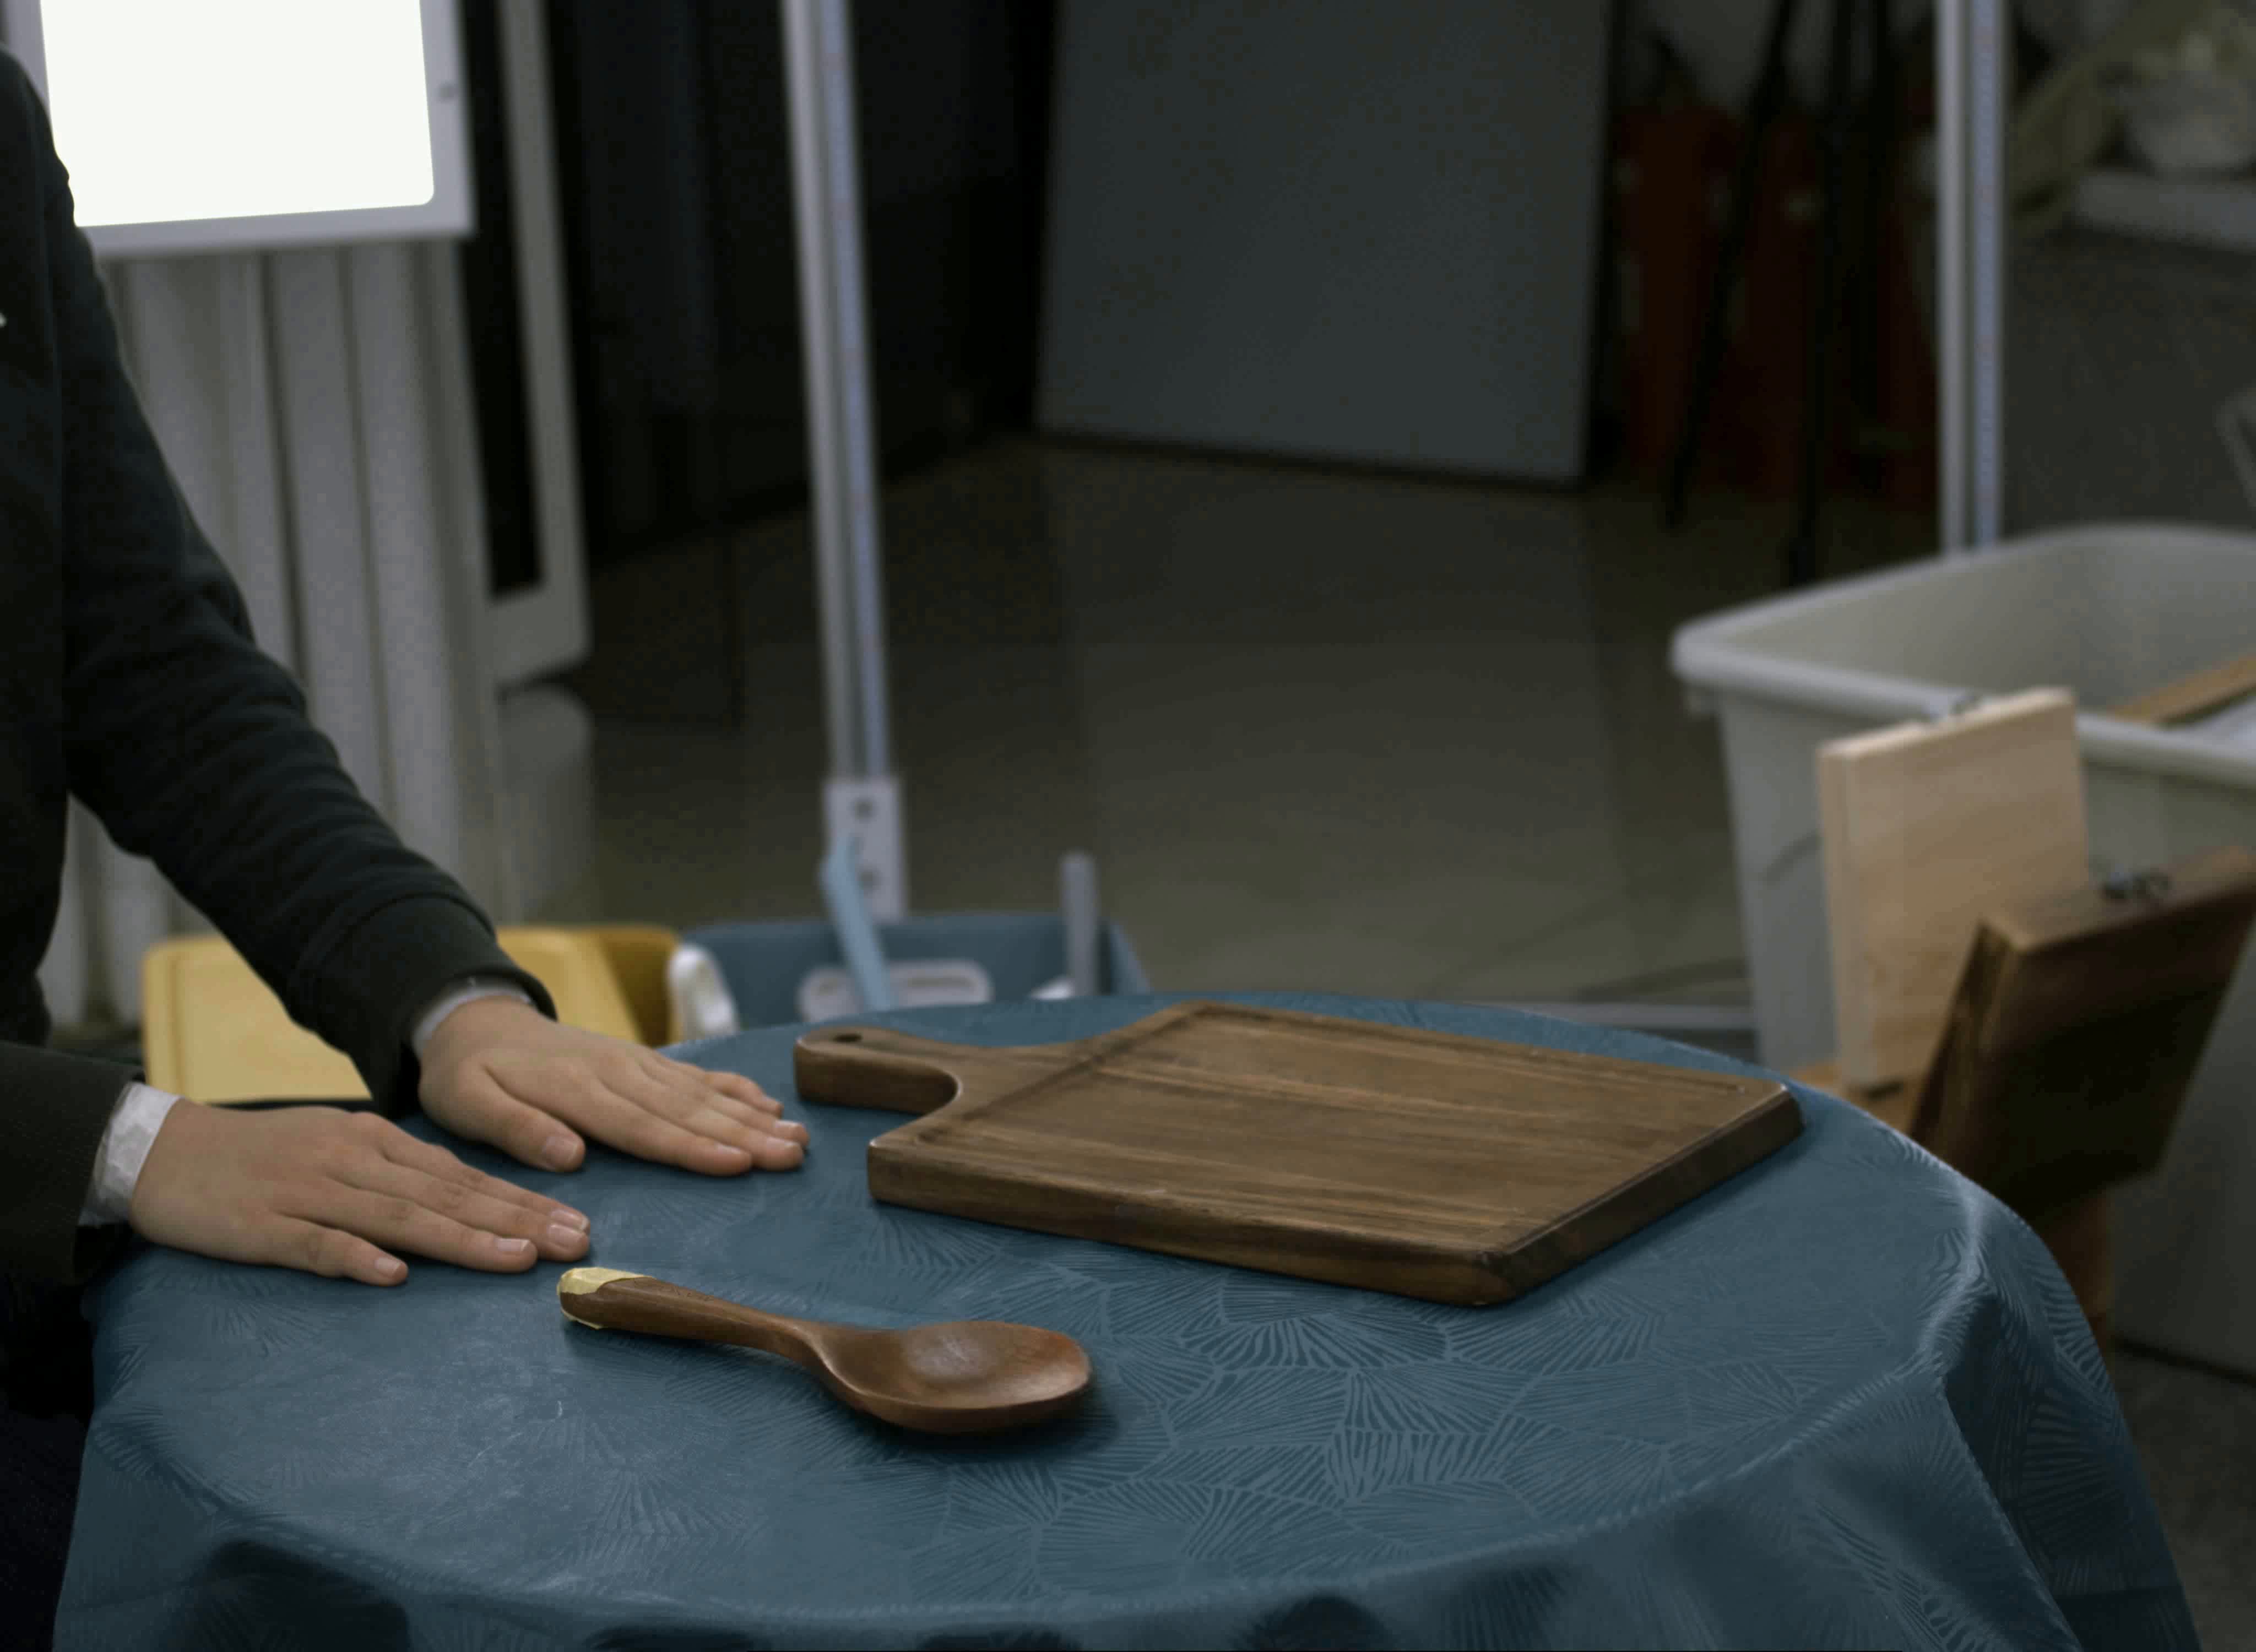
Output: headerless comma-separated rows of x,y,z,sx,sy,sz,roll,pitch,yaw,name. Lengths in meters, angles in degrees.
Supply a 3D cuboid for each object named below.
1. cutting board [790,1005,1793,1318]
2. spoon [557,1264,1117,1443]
0.028,0.102,1.806,0.354,0.023,0.197,6,18,37,cutting board
-0.092,0.157,1.618,0.217,0.017,0.074,9,21,41,spoon
